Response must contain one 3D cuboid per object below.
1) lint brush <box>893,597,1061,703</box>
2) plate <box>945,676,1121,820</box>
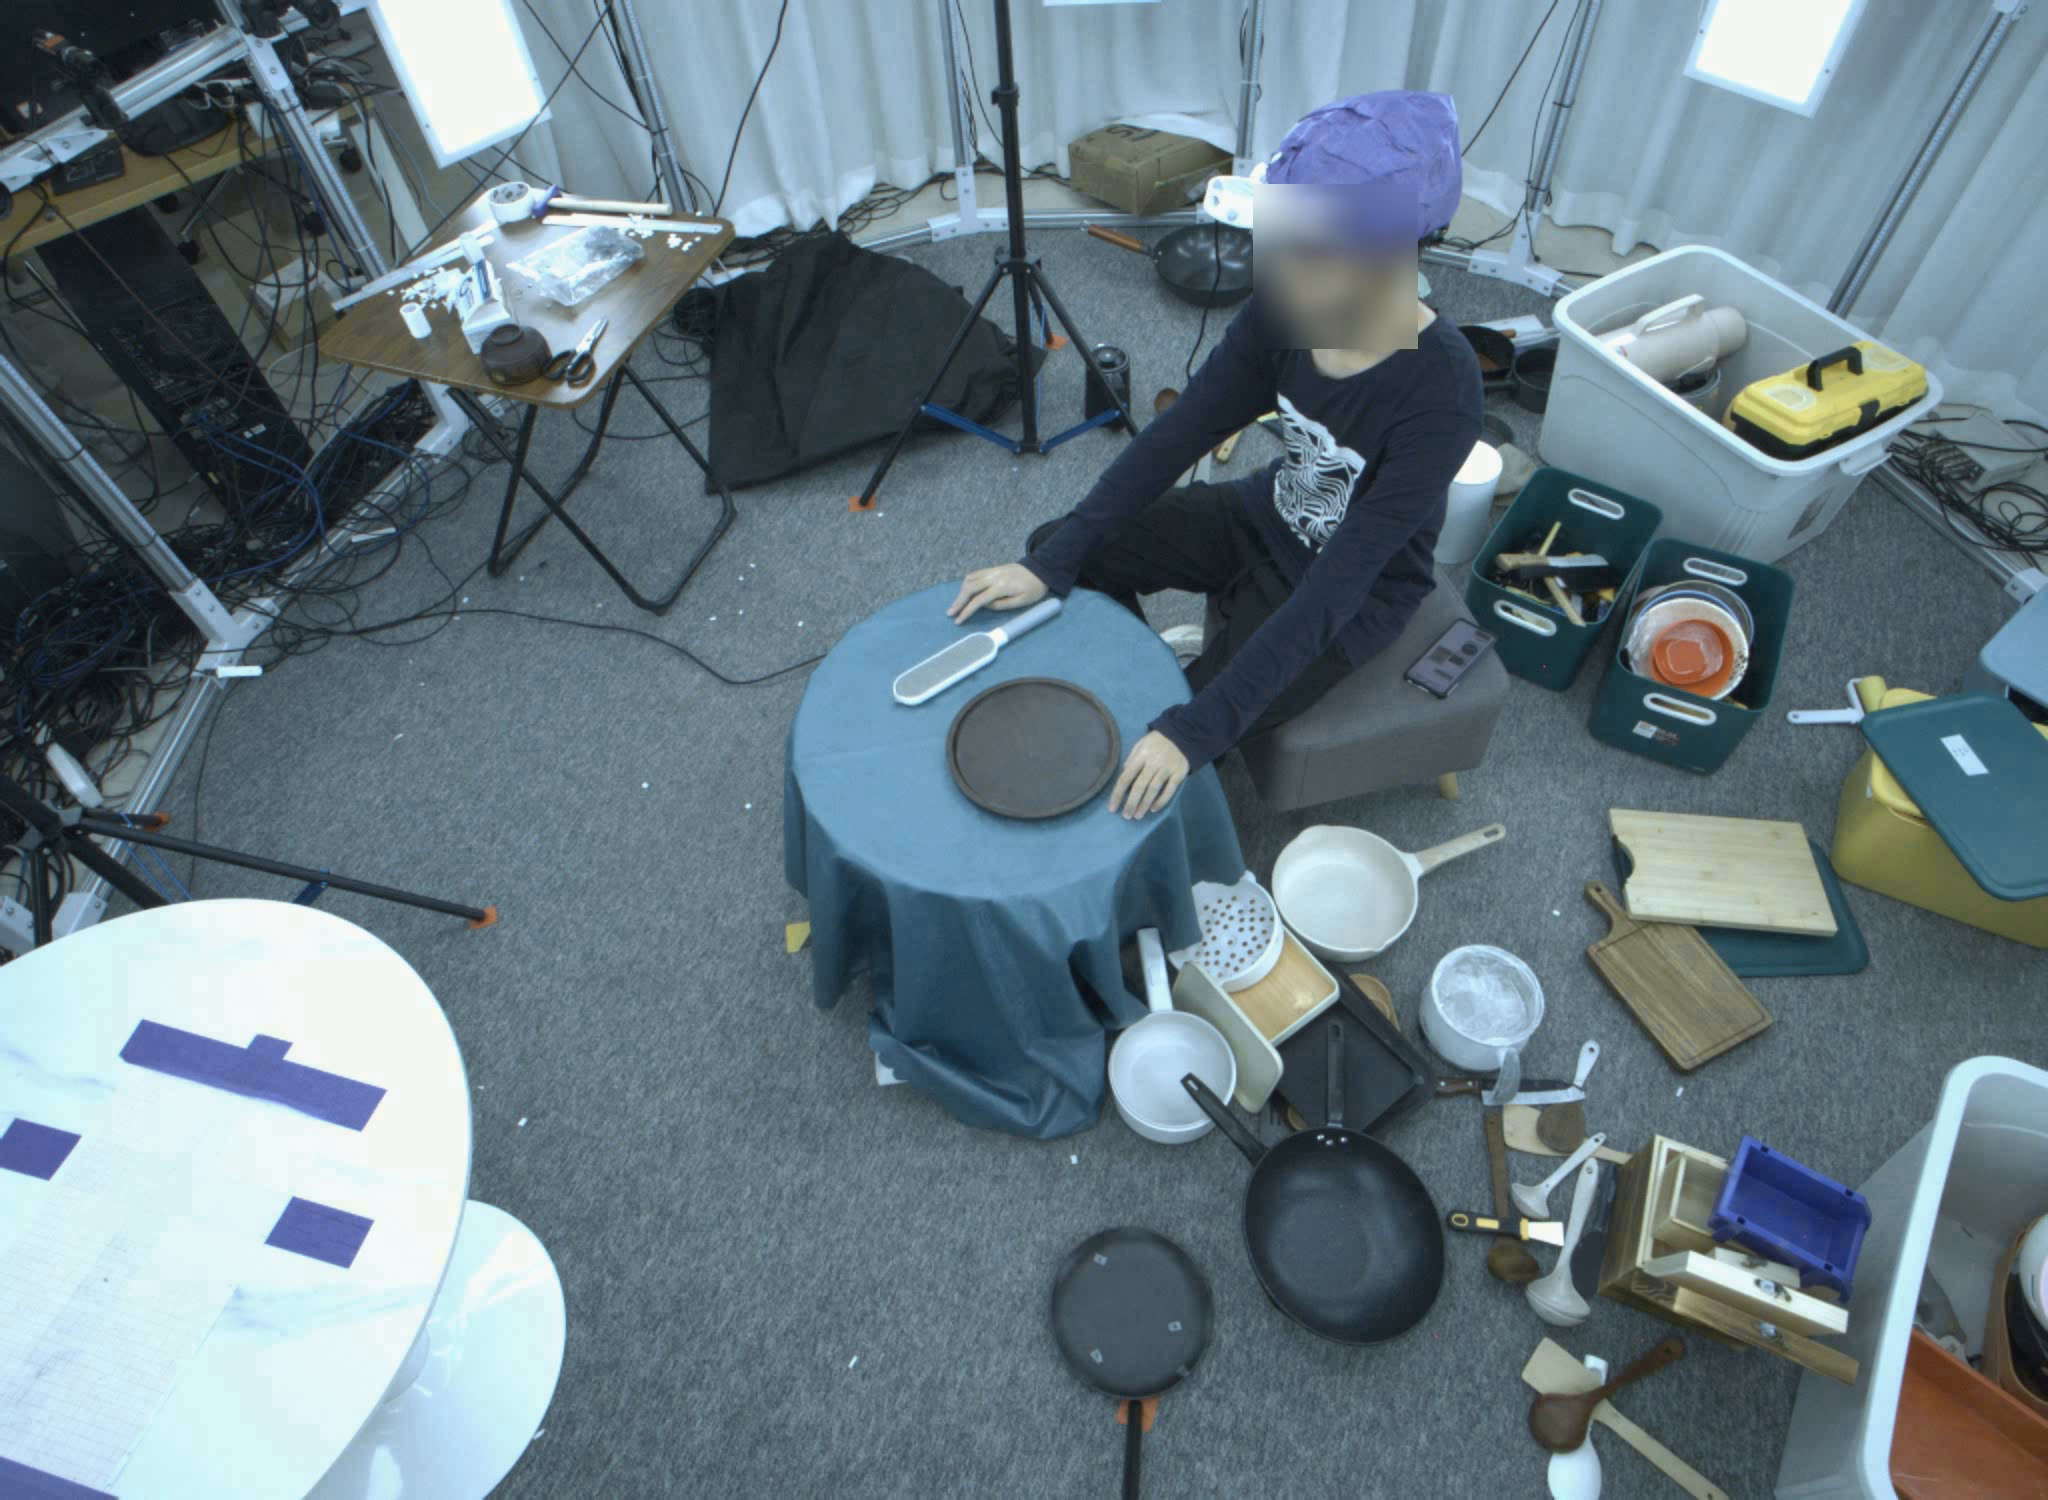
[{"bbox_3d":[-0.068,-0.158,1.893,0.311,0.021,0.059,-32,54,-20],"label":"lint brush"},{"bbox_3d":[0.014,-0.004,1.782,0.255,0.029,0.252,0,56,1],"label":"plate"}]
